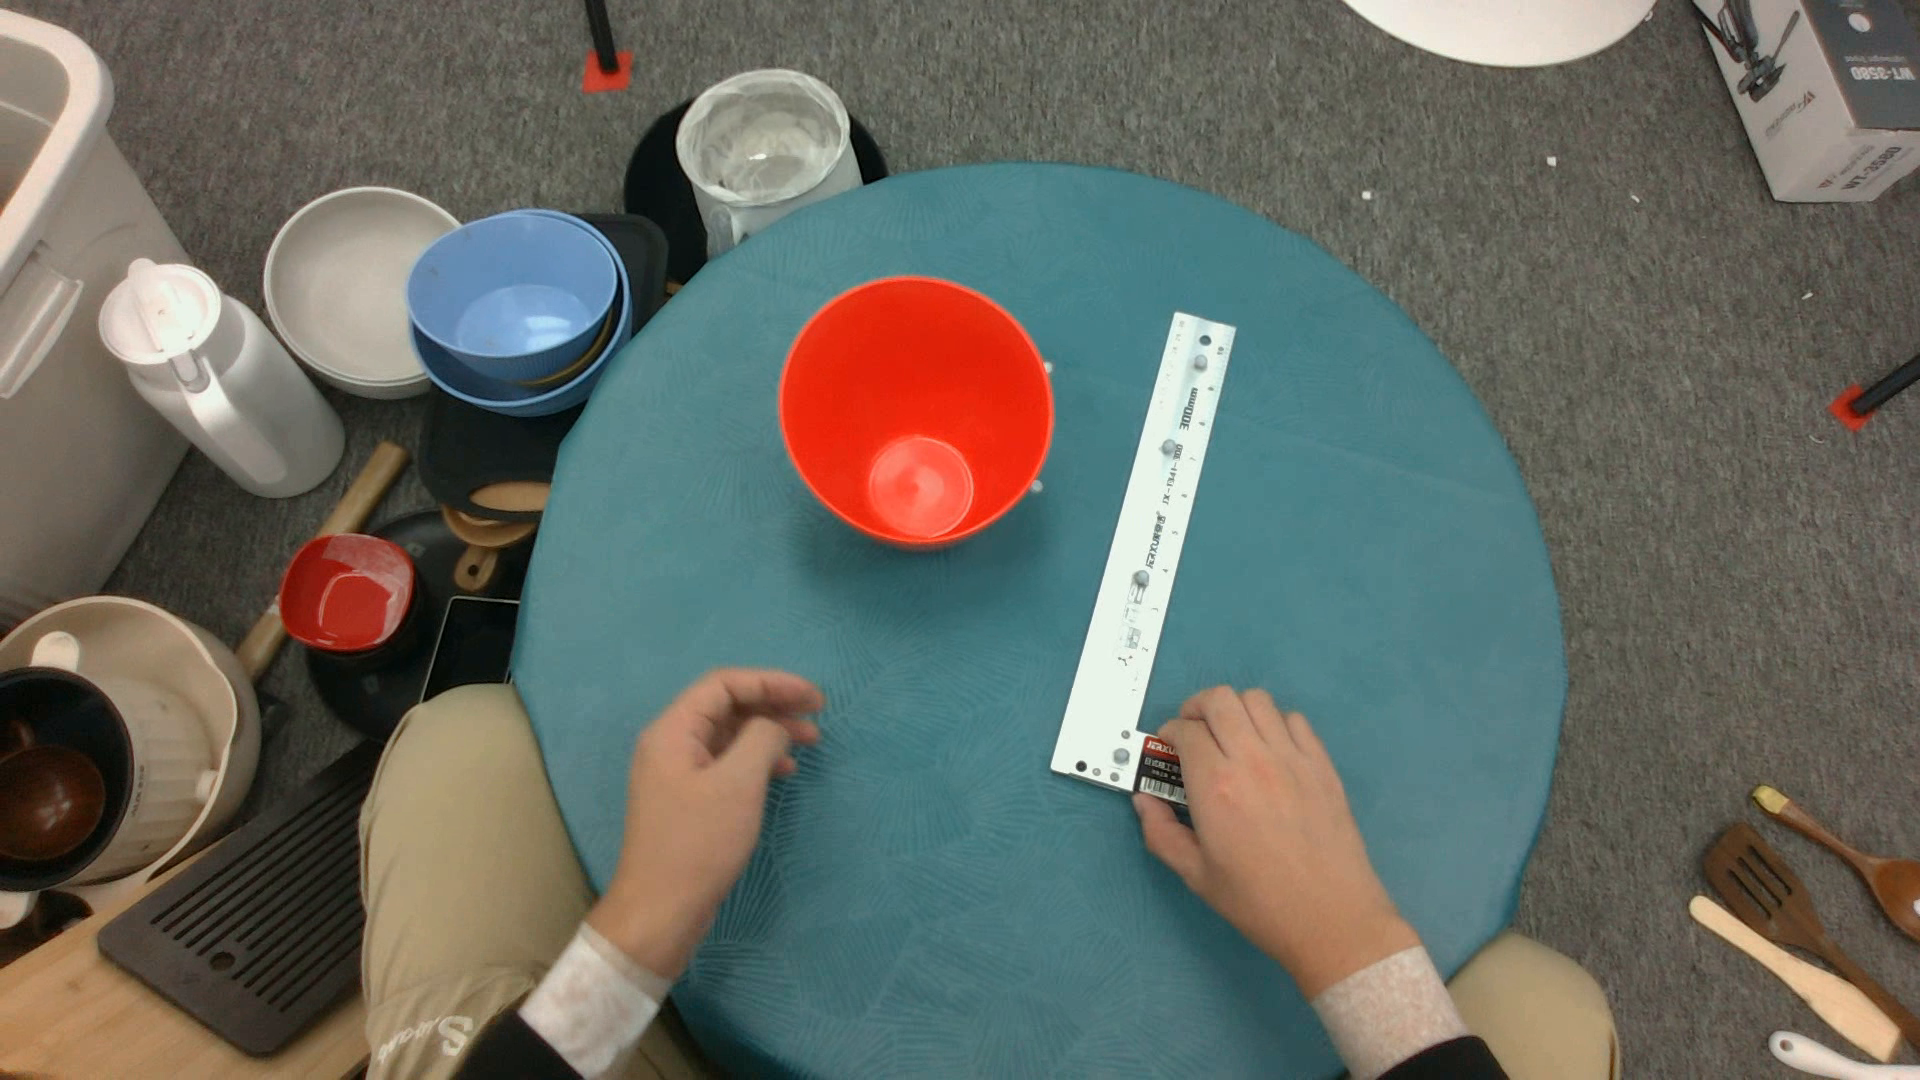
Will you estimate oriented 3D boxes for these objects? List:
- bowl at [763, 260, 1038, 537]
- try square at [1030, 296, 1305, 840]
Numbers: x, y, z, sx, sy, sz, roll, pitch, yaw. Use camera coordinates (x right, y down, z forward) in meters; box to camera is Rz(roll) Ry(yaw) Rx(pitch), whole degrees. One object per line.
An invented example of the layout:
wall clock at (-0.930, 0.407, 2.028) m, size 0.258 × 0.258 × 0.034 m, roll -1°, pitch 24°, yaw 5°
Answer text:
bowl at (-0.034, -0.066, 0.773) m, size 0.148 × 0.104 × 0.148 m, roll 2°, pitch 69°, yaw -5°
try square at (0.152, 0.005, 0.810) m, size 0.152 × 0.016 × 0.314 m, roll 18°, pitch 67°, yaw 0°
